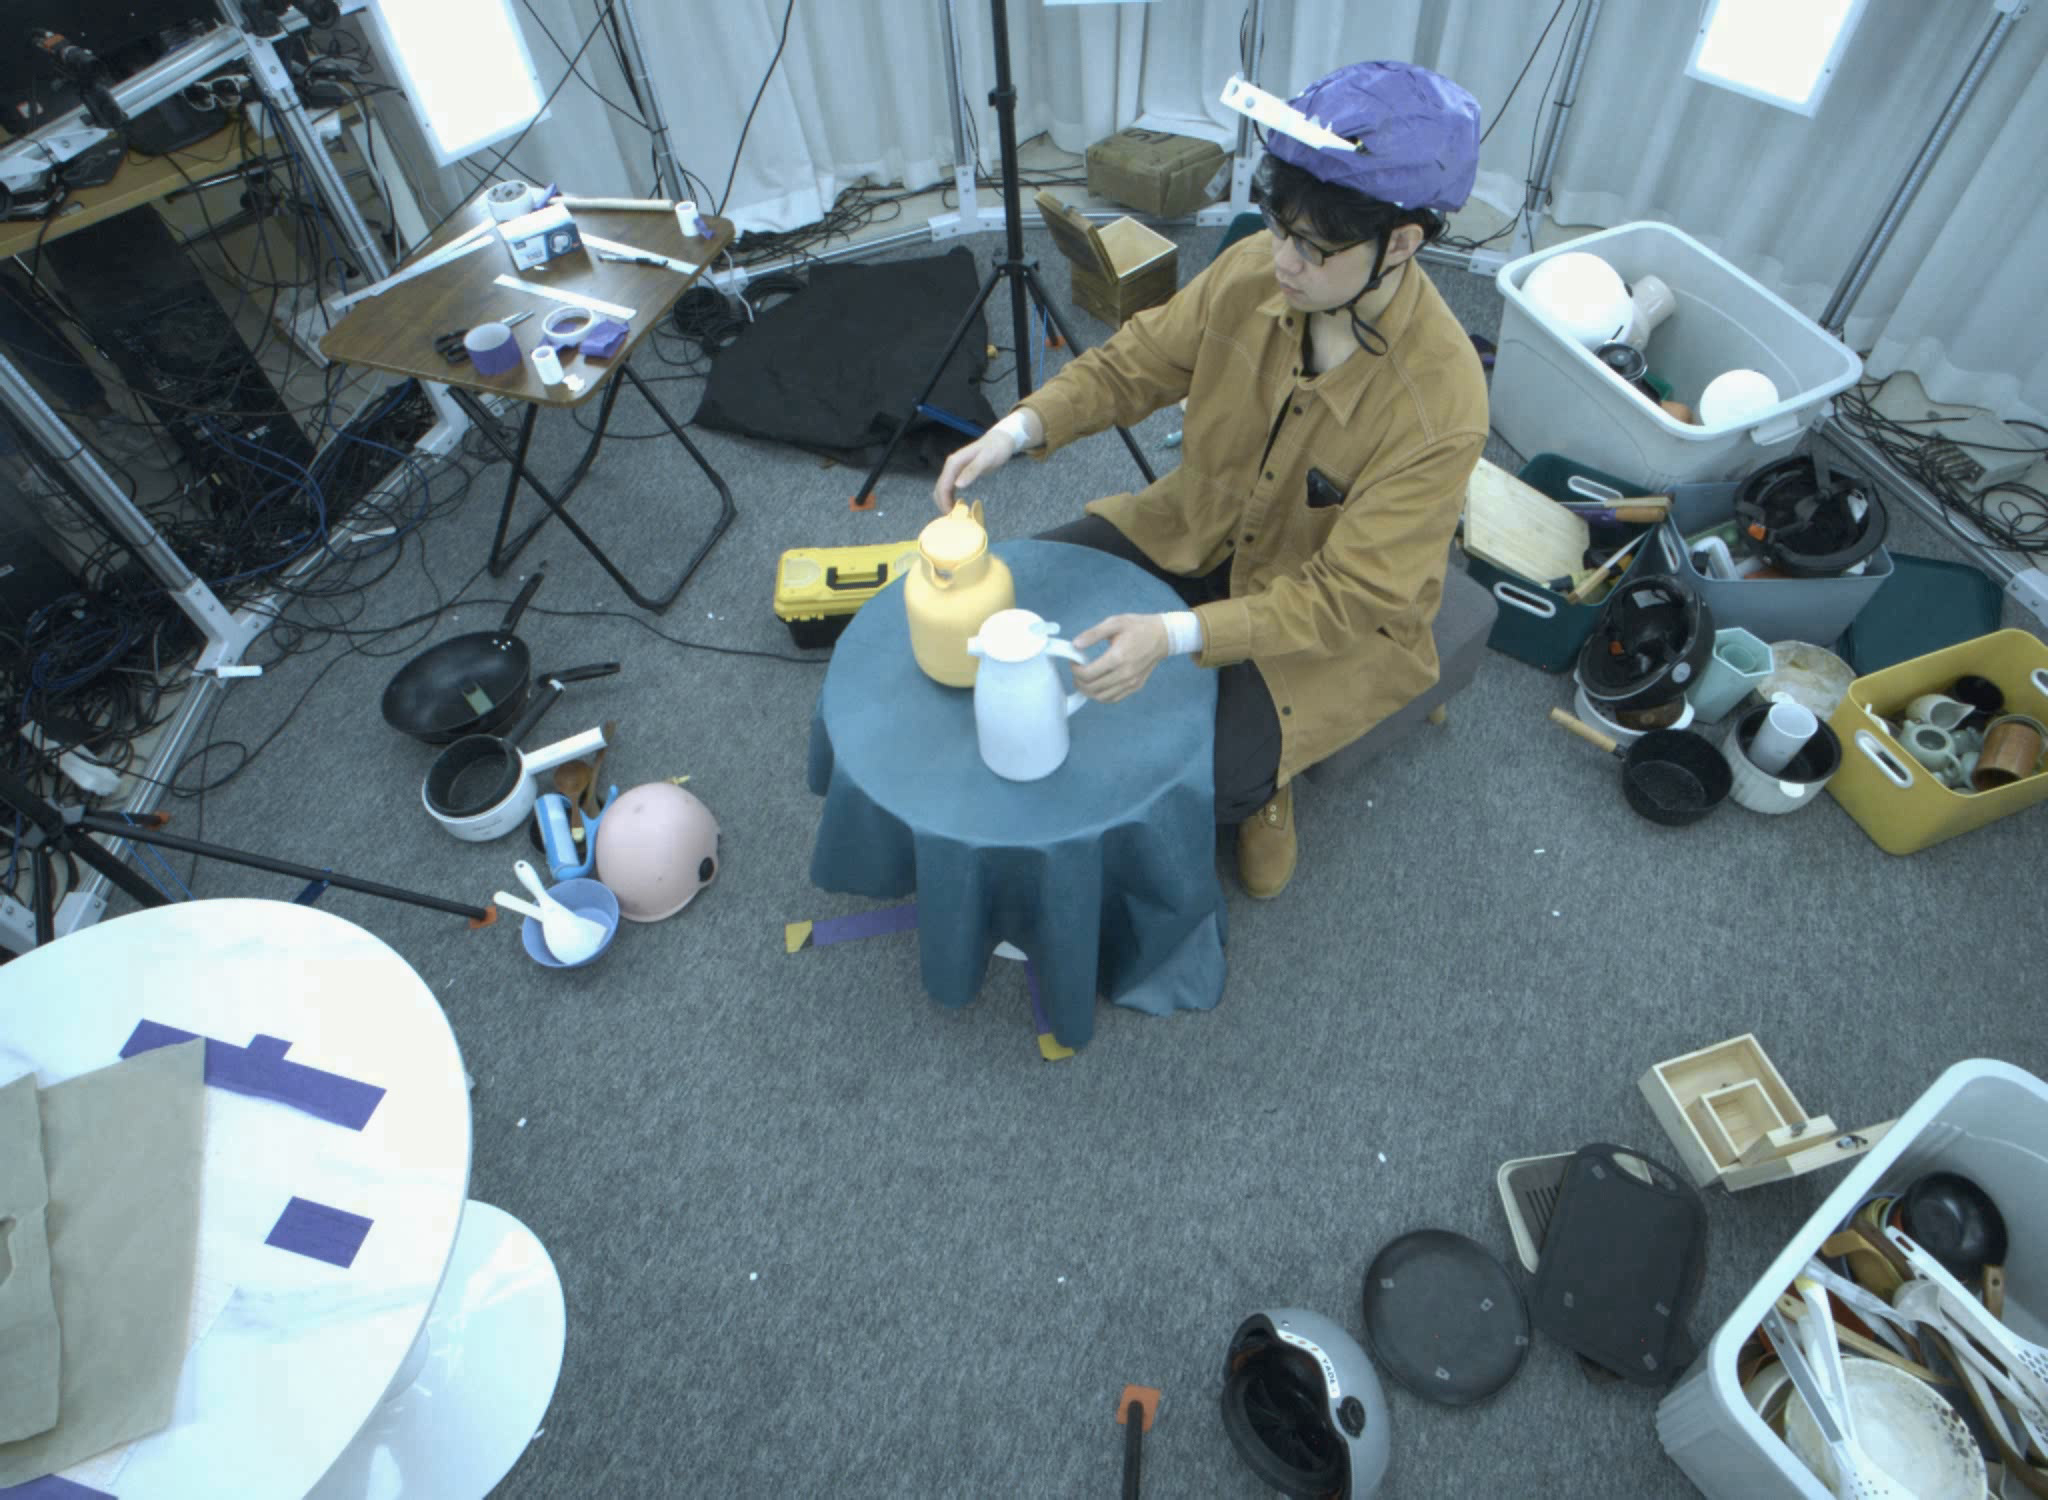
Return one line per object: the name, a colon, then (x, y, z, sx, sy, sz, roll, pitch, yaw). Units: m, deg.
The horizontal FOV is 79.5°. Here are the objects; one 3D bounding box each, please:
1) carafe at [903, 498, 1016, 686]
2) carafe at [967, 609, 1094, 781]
carafe: (-0.089, -0.237, 1.795, 0.162, 0.263, 0.201, 10, 57, 8)
carafe: (0.012, -0.083, 1.689, 0.168, 0.251, 0.131, -3, 54, 0)
